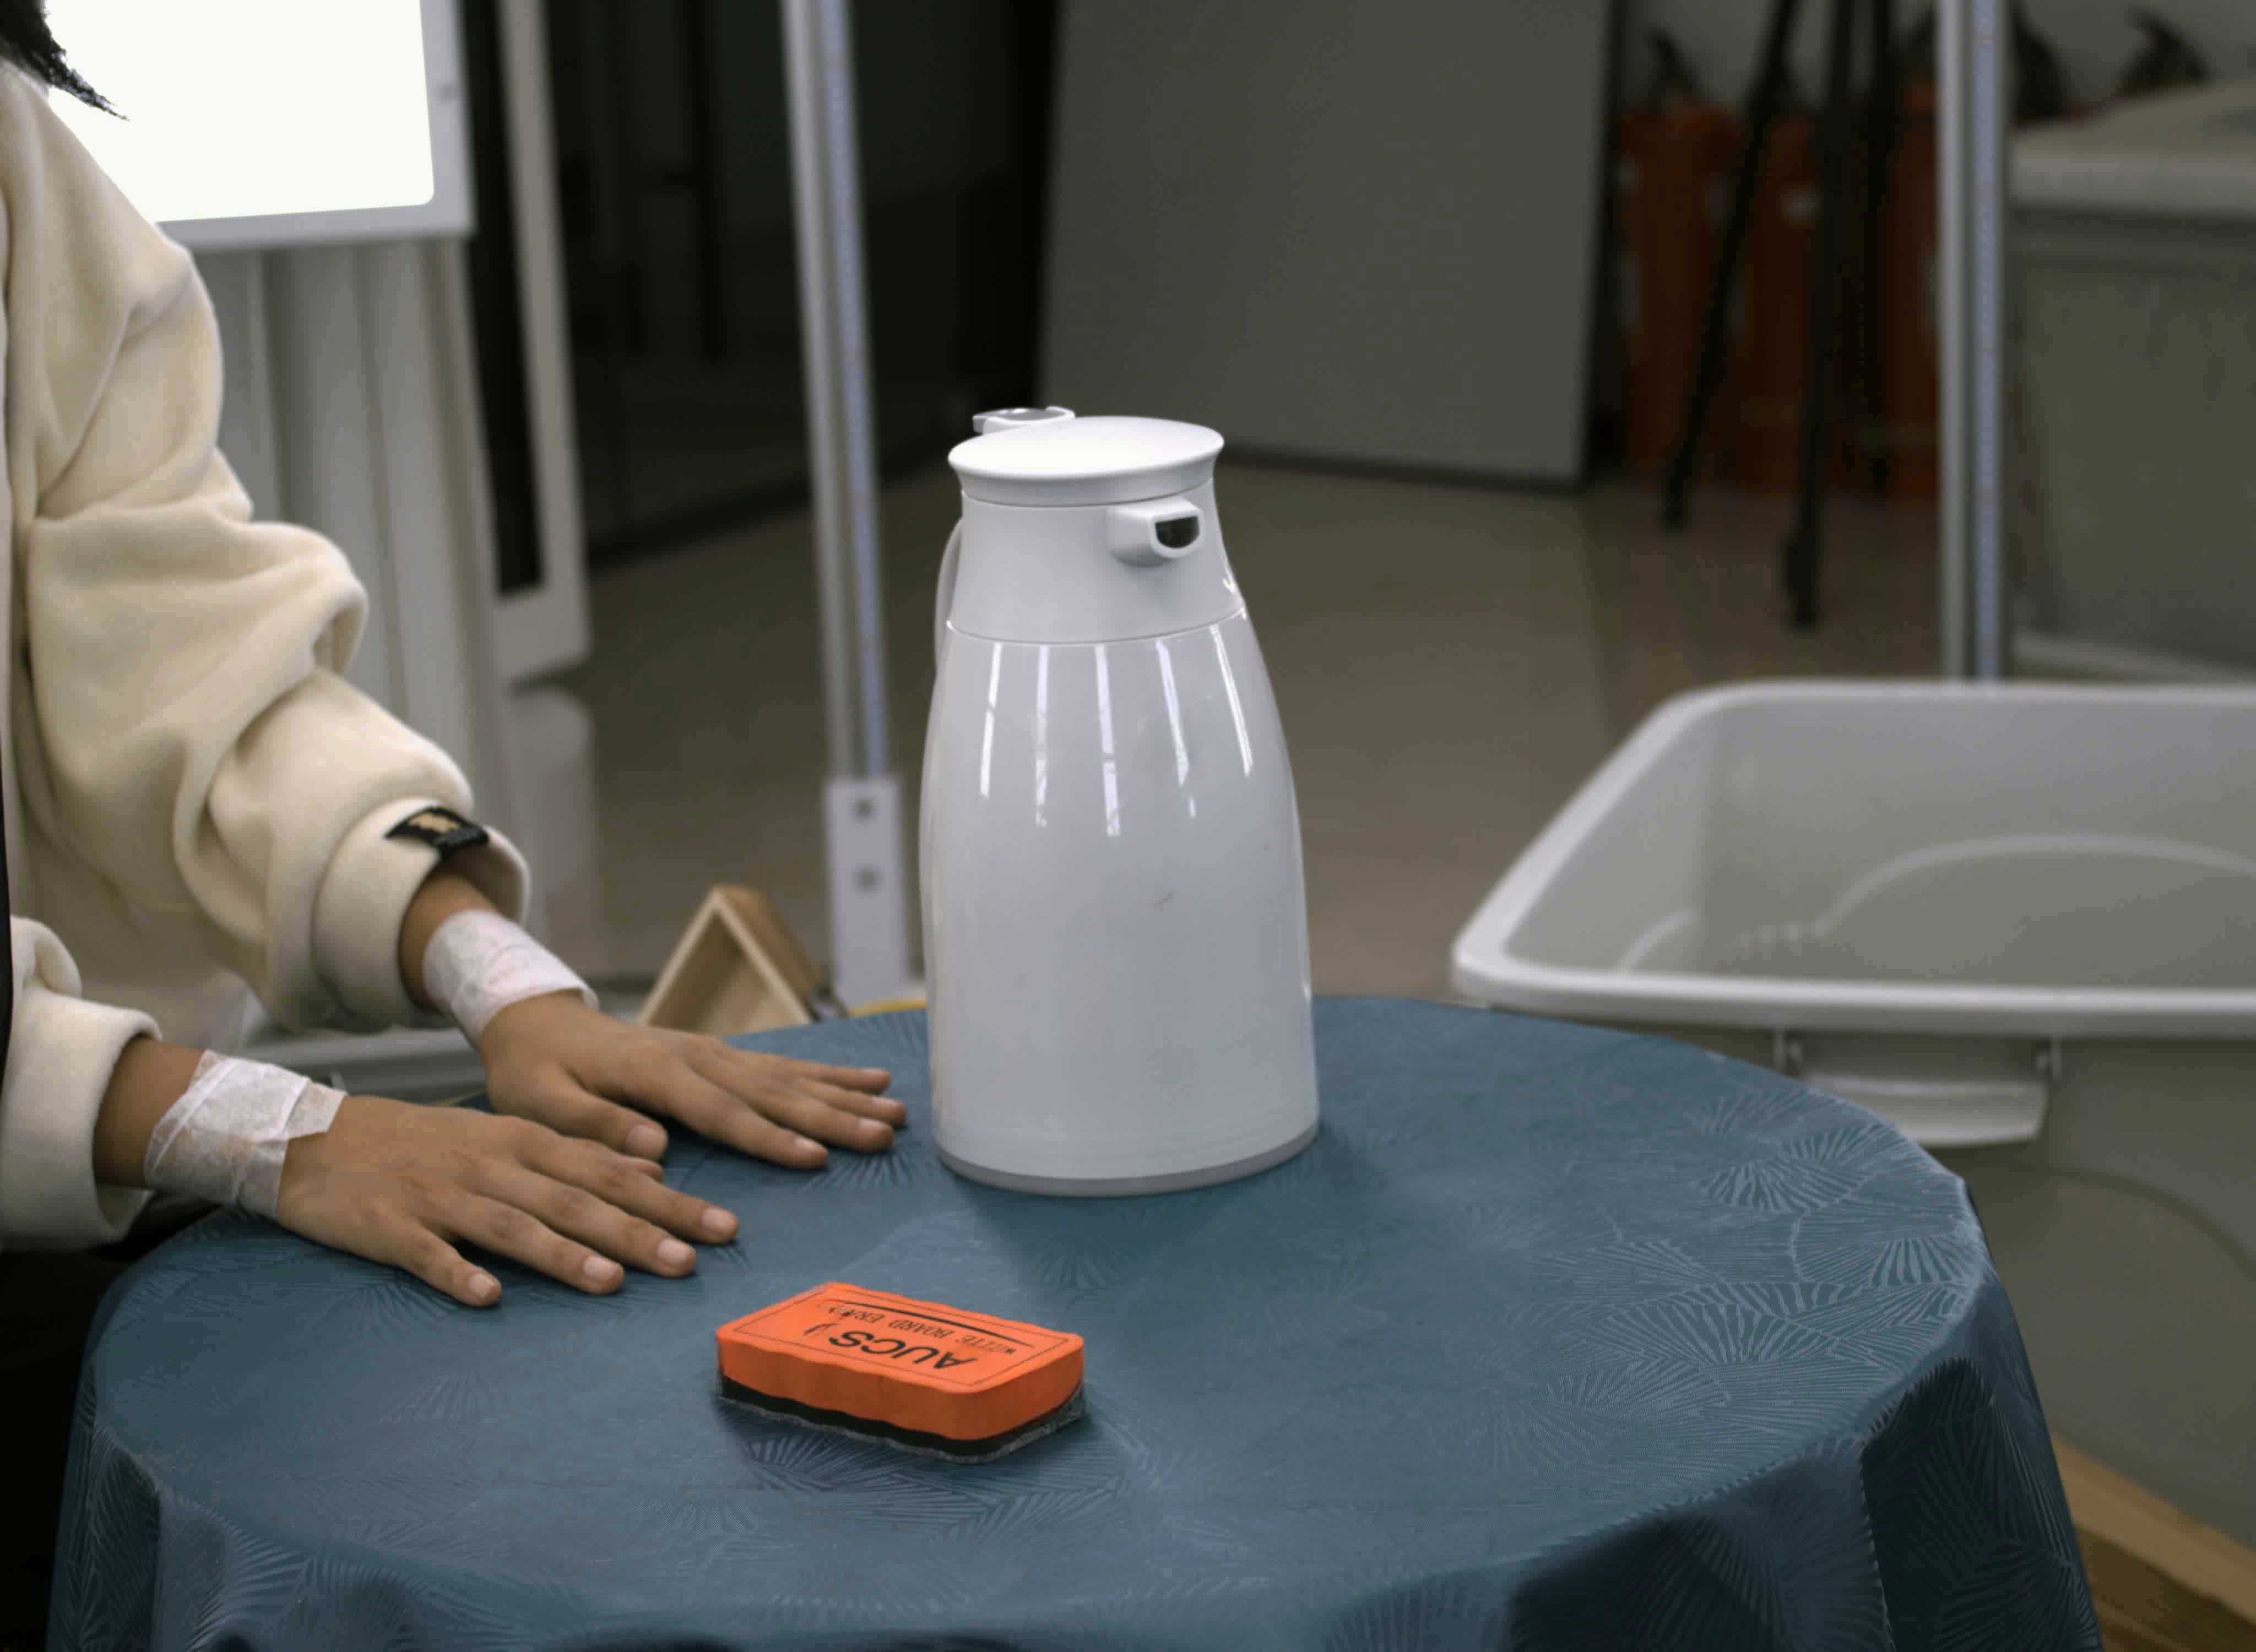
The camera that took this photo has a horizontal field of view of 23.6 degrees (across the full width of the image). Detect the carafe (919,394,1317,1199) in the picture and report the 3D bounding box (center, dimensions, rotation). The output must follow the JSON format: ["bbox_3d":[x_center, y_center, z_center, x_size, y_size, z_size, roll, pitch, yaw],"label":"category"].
[{"bbox_3d":[-0.018,-0.018,1.815,0.129,0.251,0.169,-11,14,-27],"label":"carafe"}]

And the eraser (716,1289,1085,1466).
[{"bbox_3d":[-0.066,0.161,1.581,0.109,0.023,0.058,8,16,41],"label":"eraser"}]
